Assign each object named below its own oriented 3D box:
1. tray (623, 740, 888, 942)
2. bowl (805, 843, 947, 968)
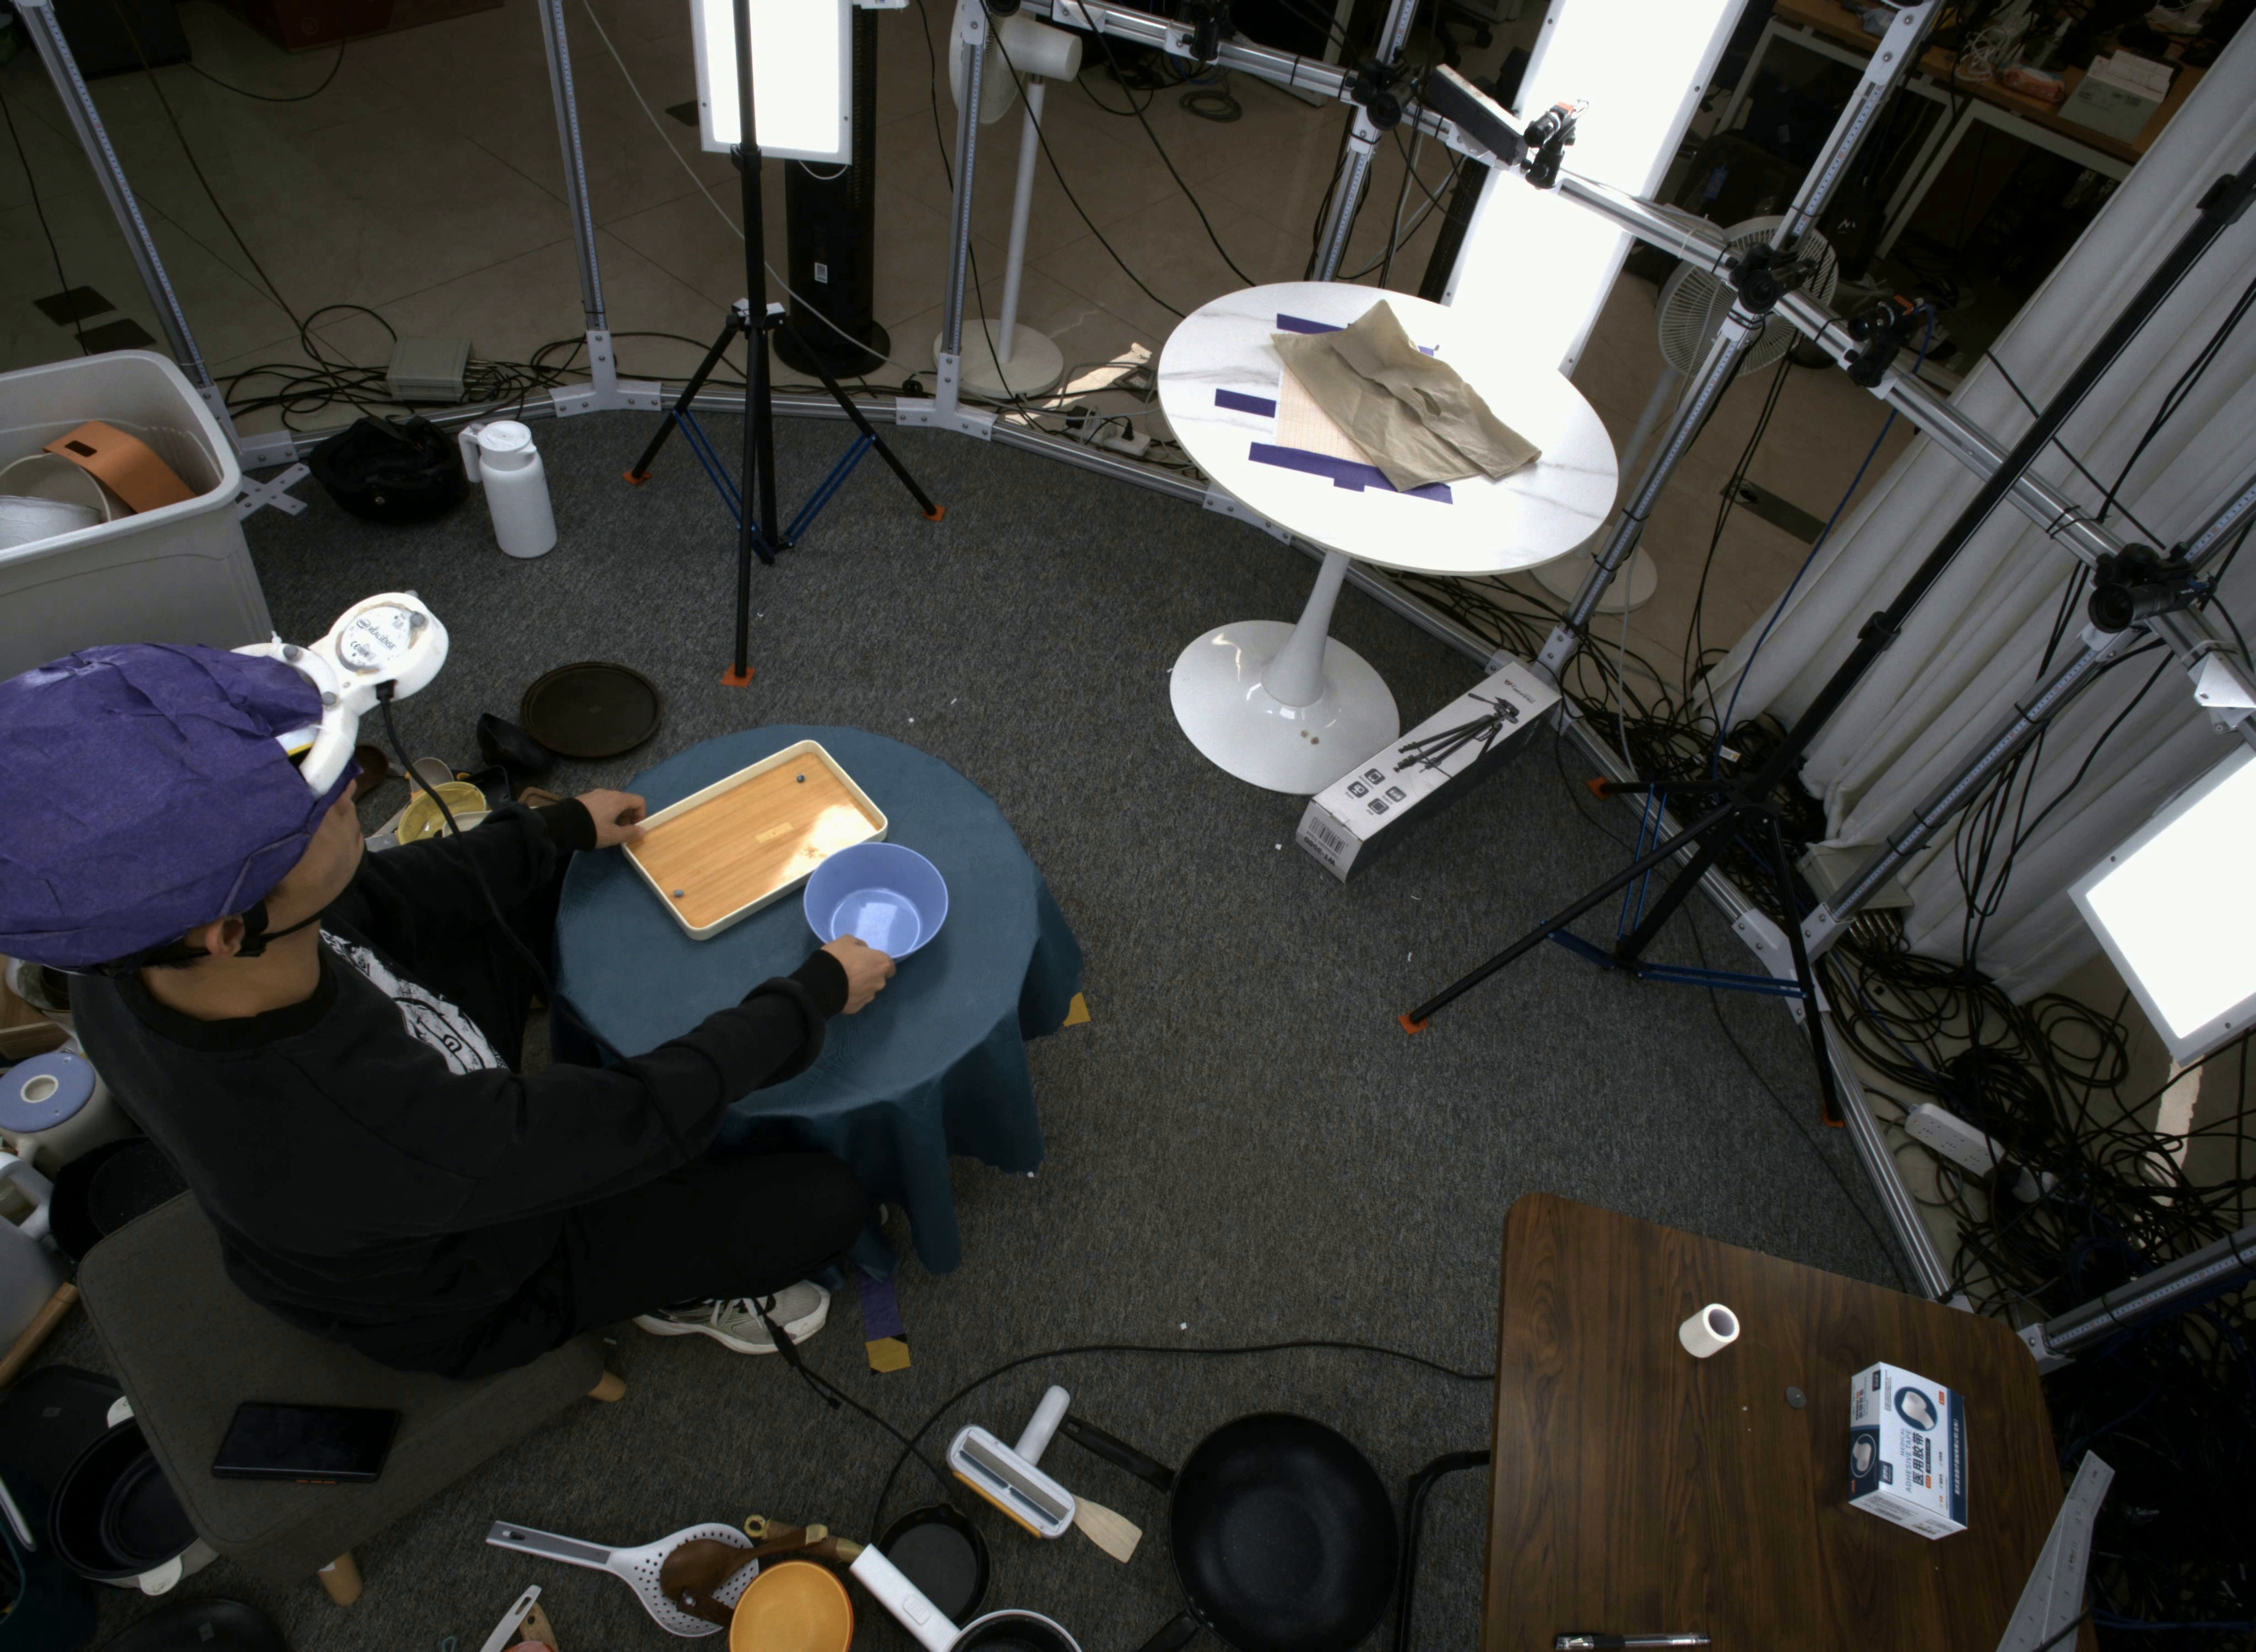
[{"bbox_3d":[-0.484,0.011,1.688,0.301,0.028,0.187,-33,67,-32],"label":"tray"},{"bbox_3d":[-0.315,0.109,1.630,0.175,0.072,0.173,8,51,-8],"label":"bowl"}]
